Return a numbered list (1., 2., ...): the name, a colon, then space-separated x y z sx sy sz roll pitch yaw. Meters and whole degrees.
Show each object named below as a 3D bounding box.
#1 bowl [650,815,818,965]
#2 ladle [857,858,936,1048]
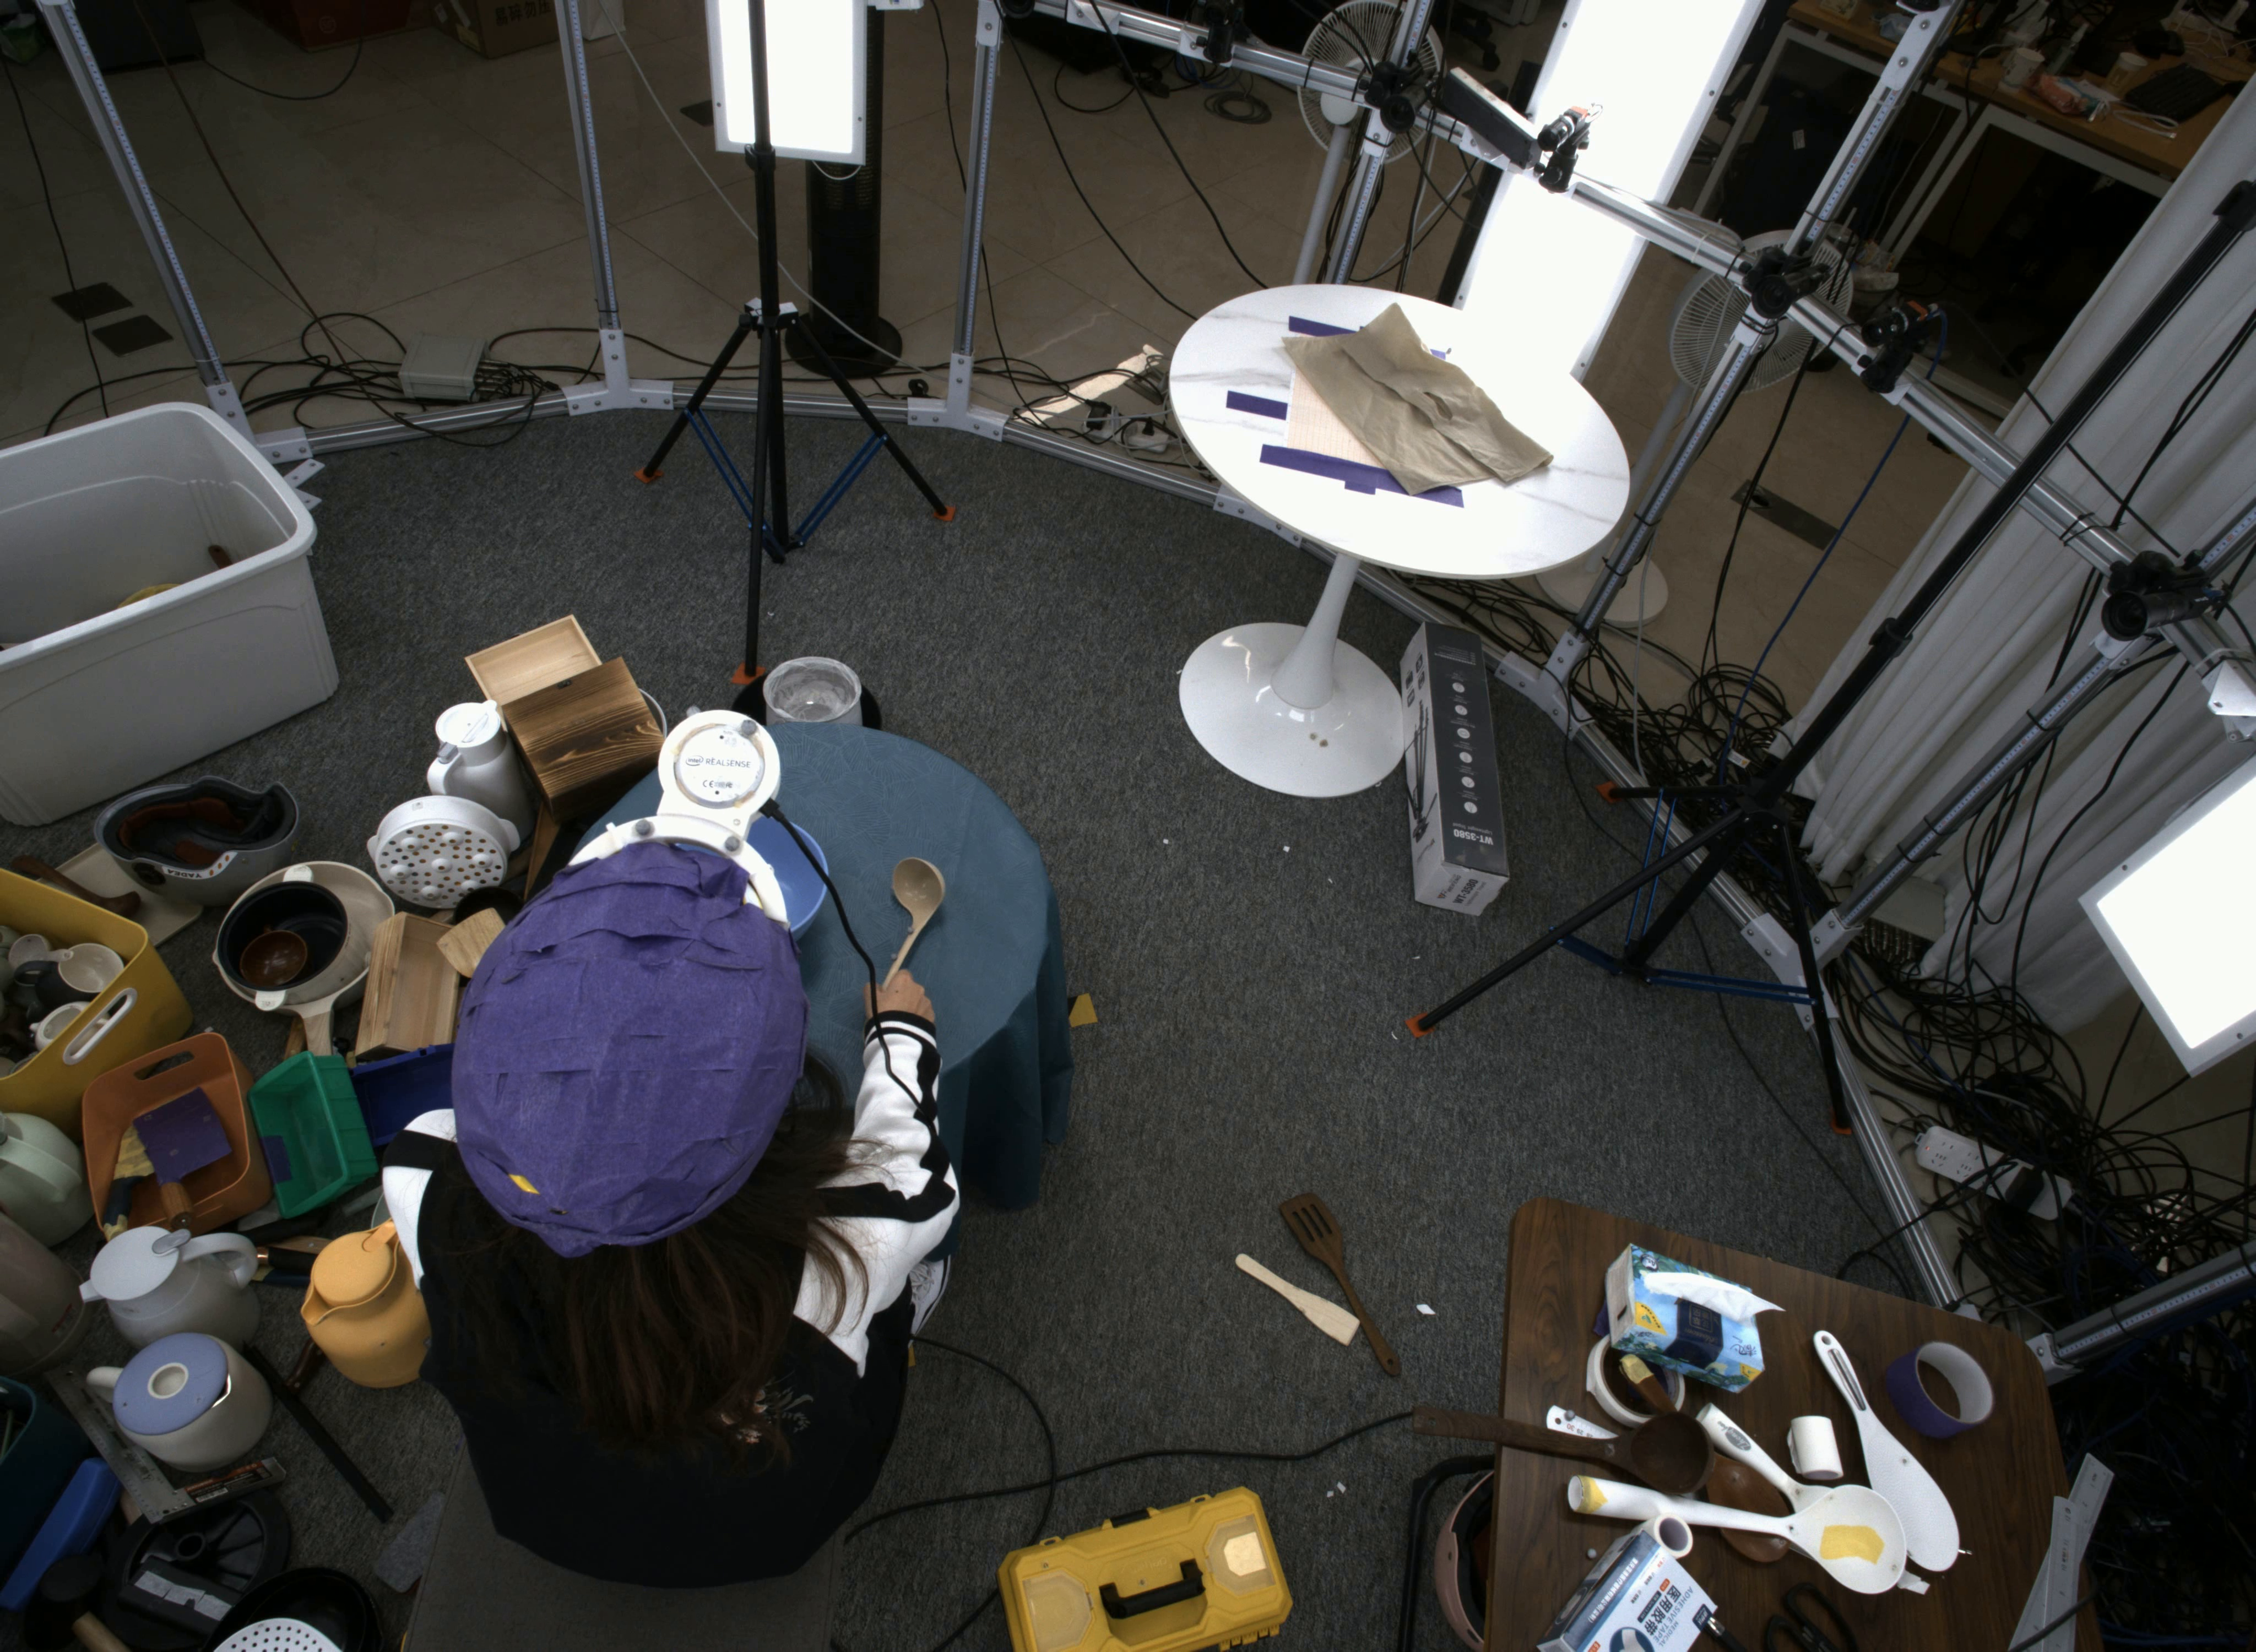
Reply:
1. bowl: -0.478 0.091 1.579 0.196 0.097 0.193 9 52 -10
2. ladle: -0.299 0.144 1.587 0.070 0.076 0.251 -5 43 21
